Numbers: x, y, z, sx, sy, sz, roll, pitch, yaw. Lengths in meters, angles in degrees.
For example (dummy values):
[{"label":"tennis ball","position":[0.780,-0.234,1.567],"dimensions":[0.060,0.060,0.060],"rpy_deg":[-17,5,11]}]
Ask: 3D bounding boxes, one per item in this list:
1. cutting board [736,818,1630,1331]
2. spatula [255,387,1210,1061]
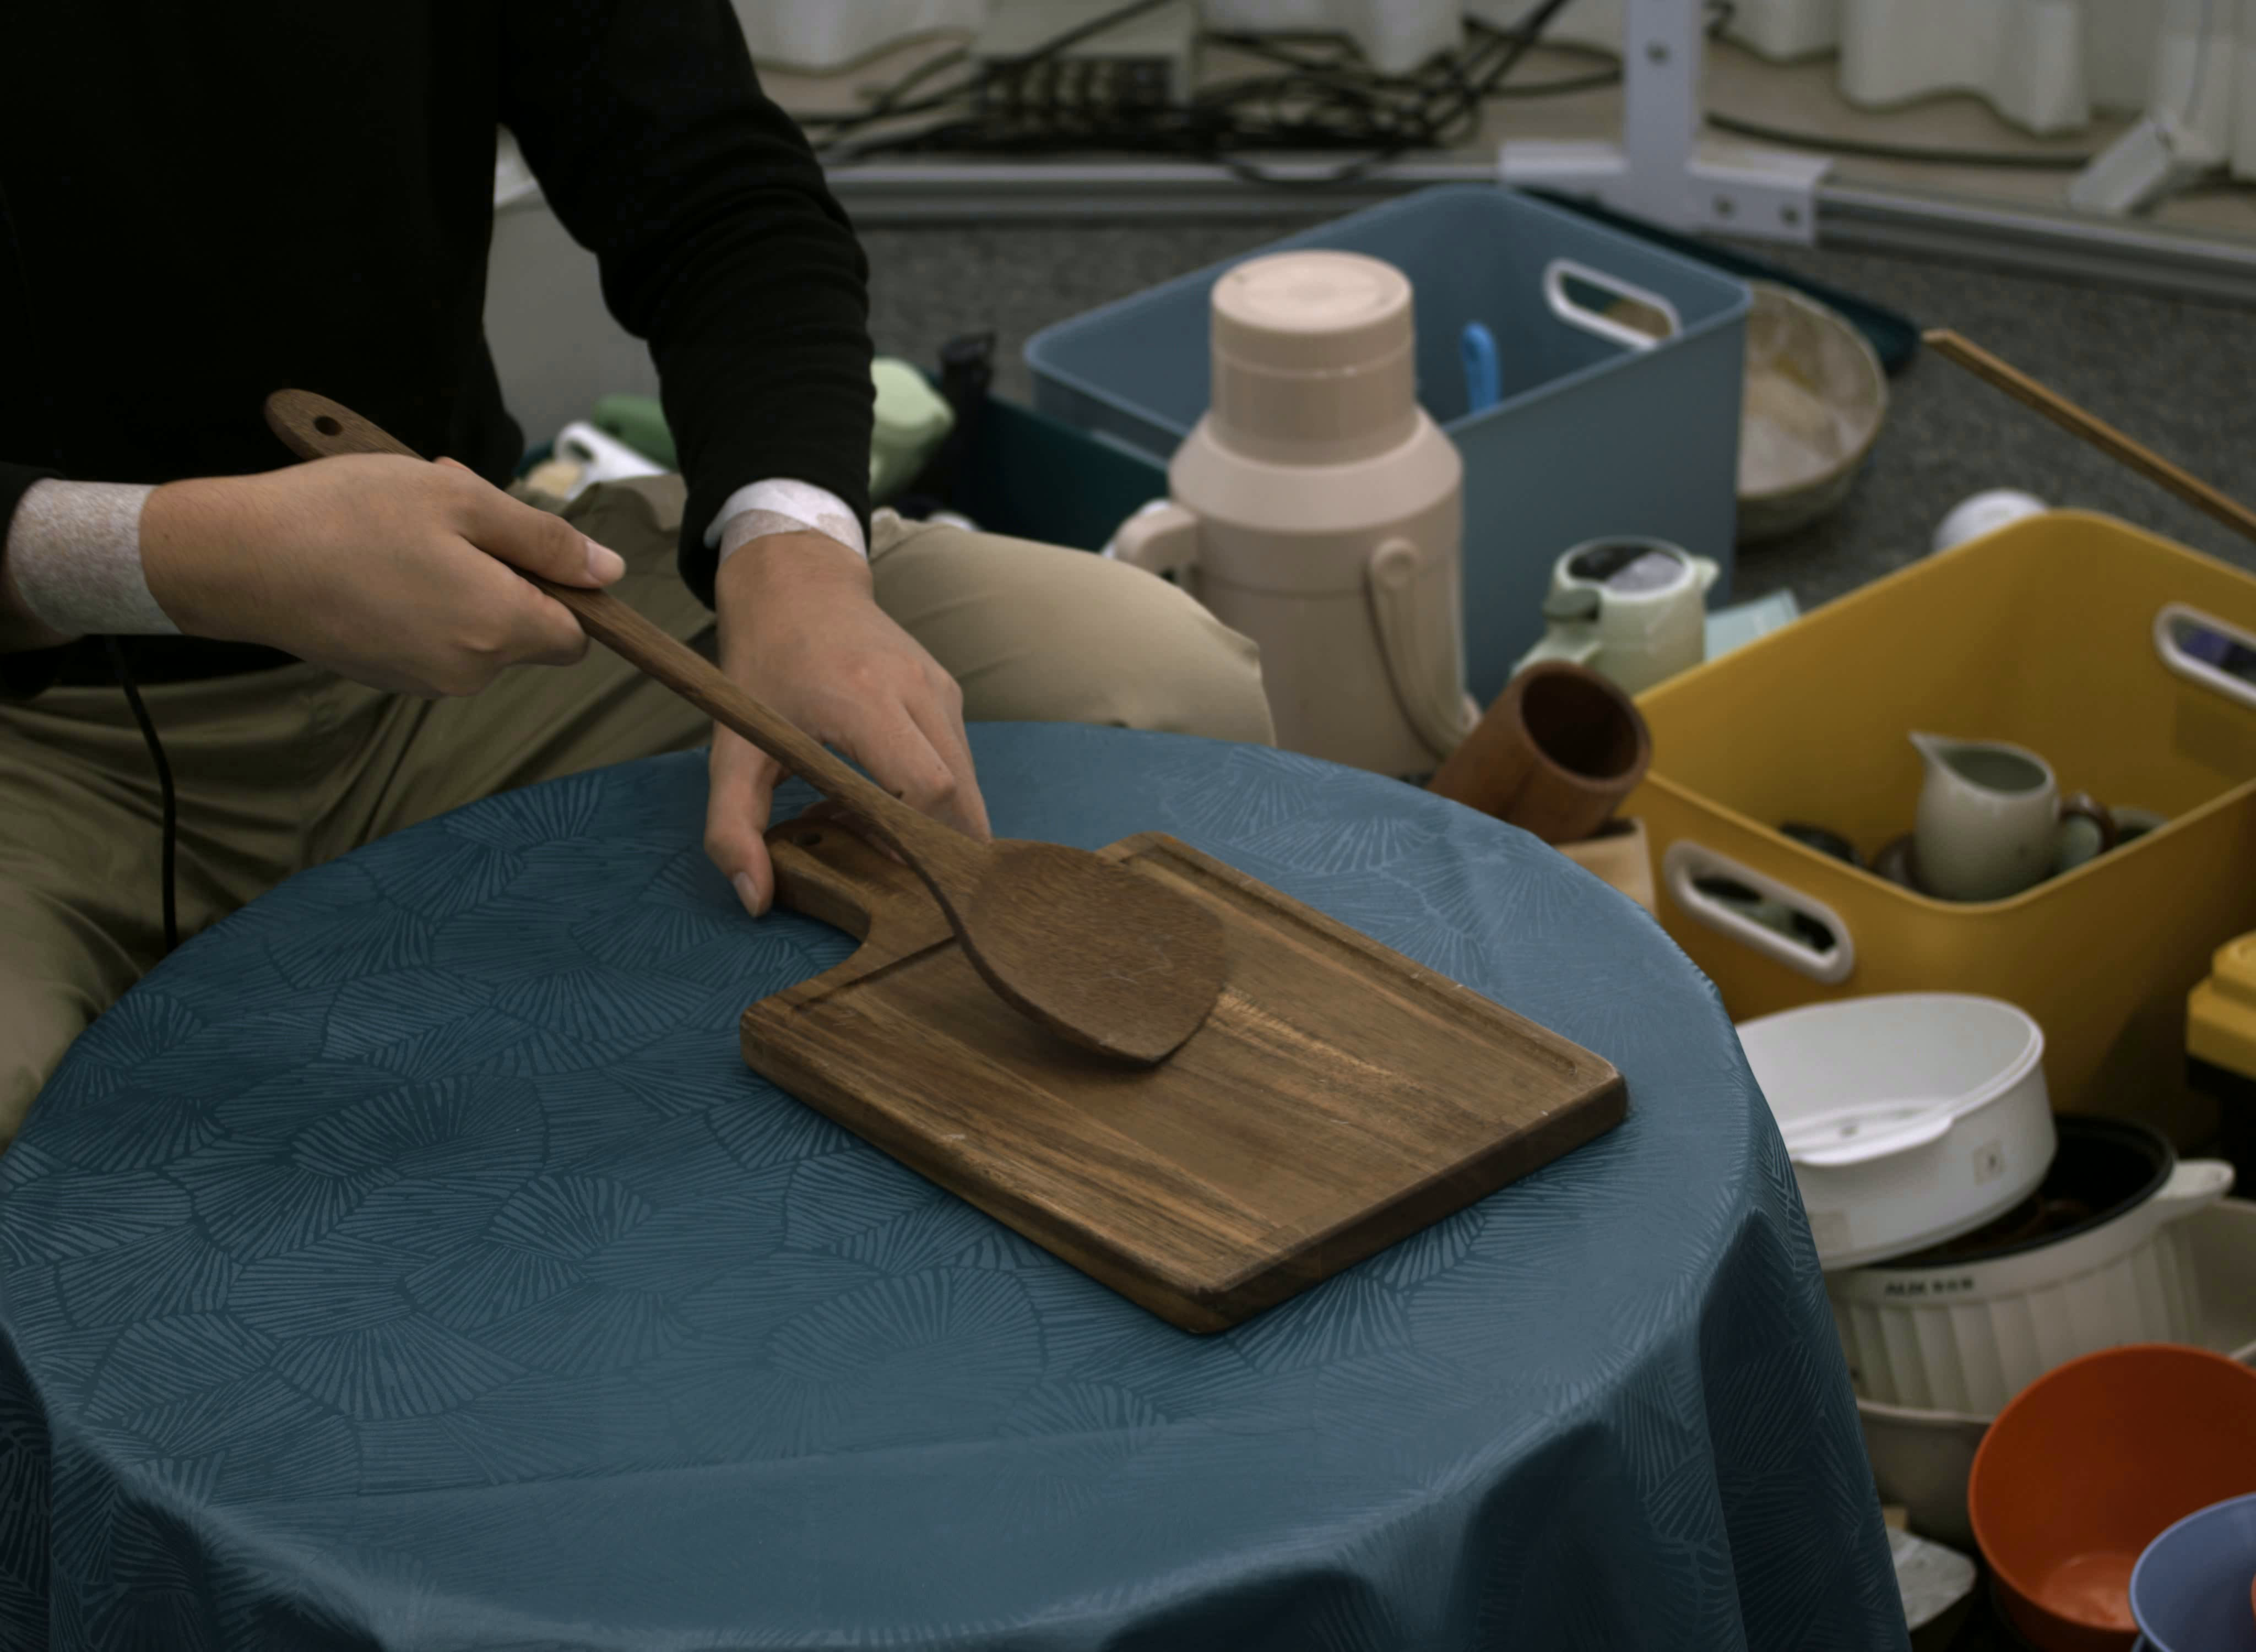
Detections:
[{"label":"cutting board","position":[-0.015,0.065,1.946],"dimensions":[0.203,0.023,0.352],"rpy_deg":[-23,34,-35]},{"label":"spatula","position":[-0.137,-0.041,1.932],"dimensions":[0.385,0.015,0.098],"rpy_deg":[34,37,-1]}]
